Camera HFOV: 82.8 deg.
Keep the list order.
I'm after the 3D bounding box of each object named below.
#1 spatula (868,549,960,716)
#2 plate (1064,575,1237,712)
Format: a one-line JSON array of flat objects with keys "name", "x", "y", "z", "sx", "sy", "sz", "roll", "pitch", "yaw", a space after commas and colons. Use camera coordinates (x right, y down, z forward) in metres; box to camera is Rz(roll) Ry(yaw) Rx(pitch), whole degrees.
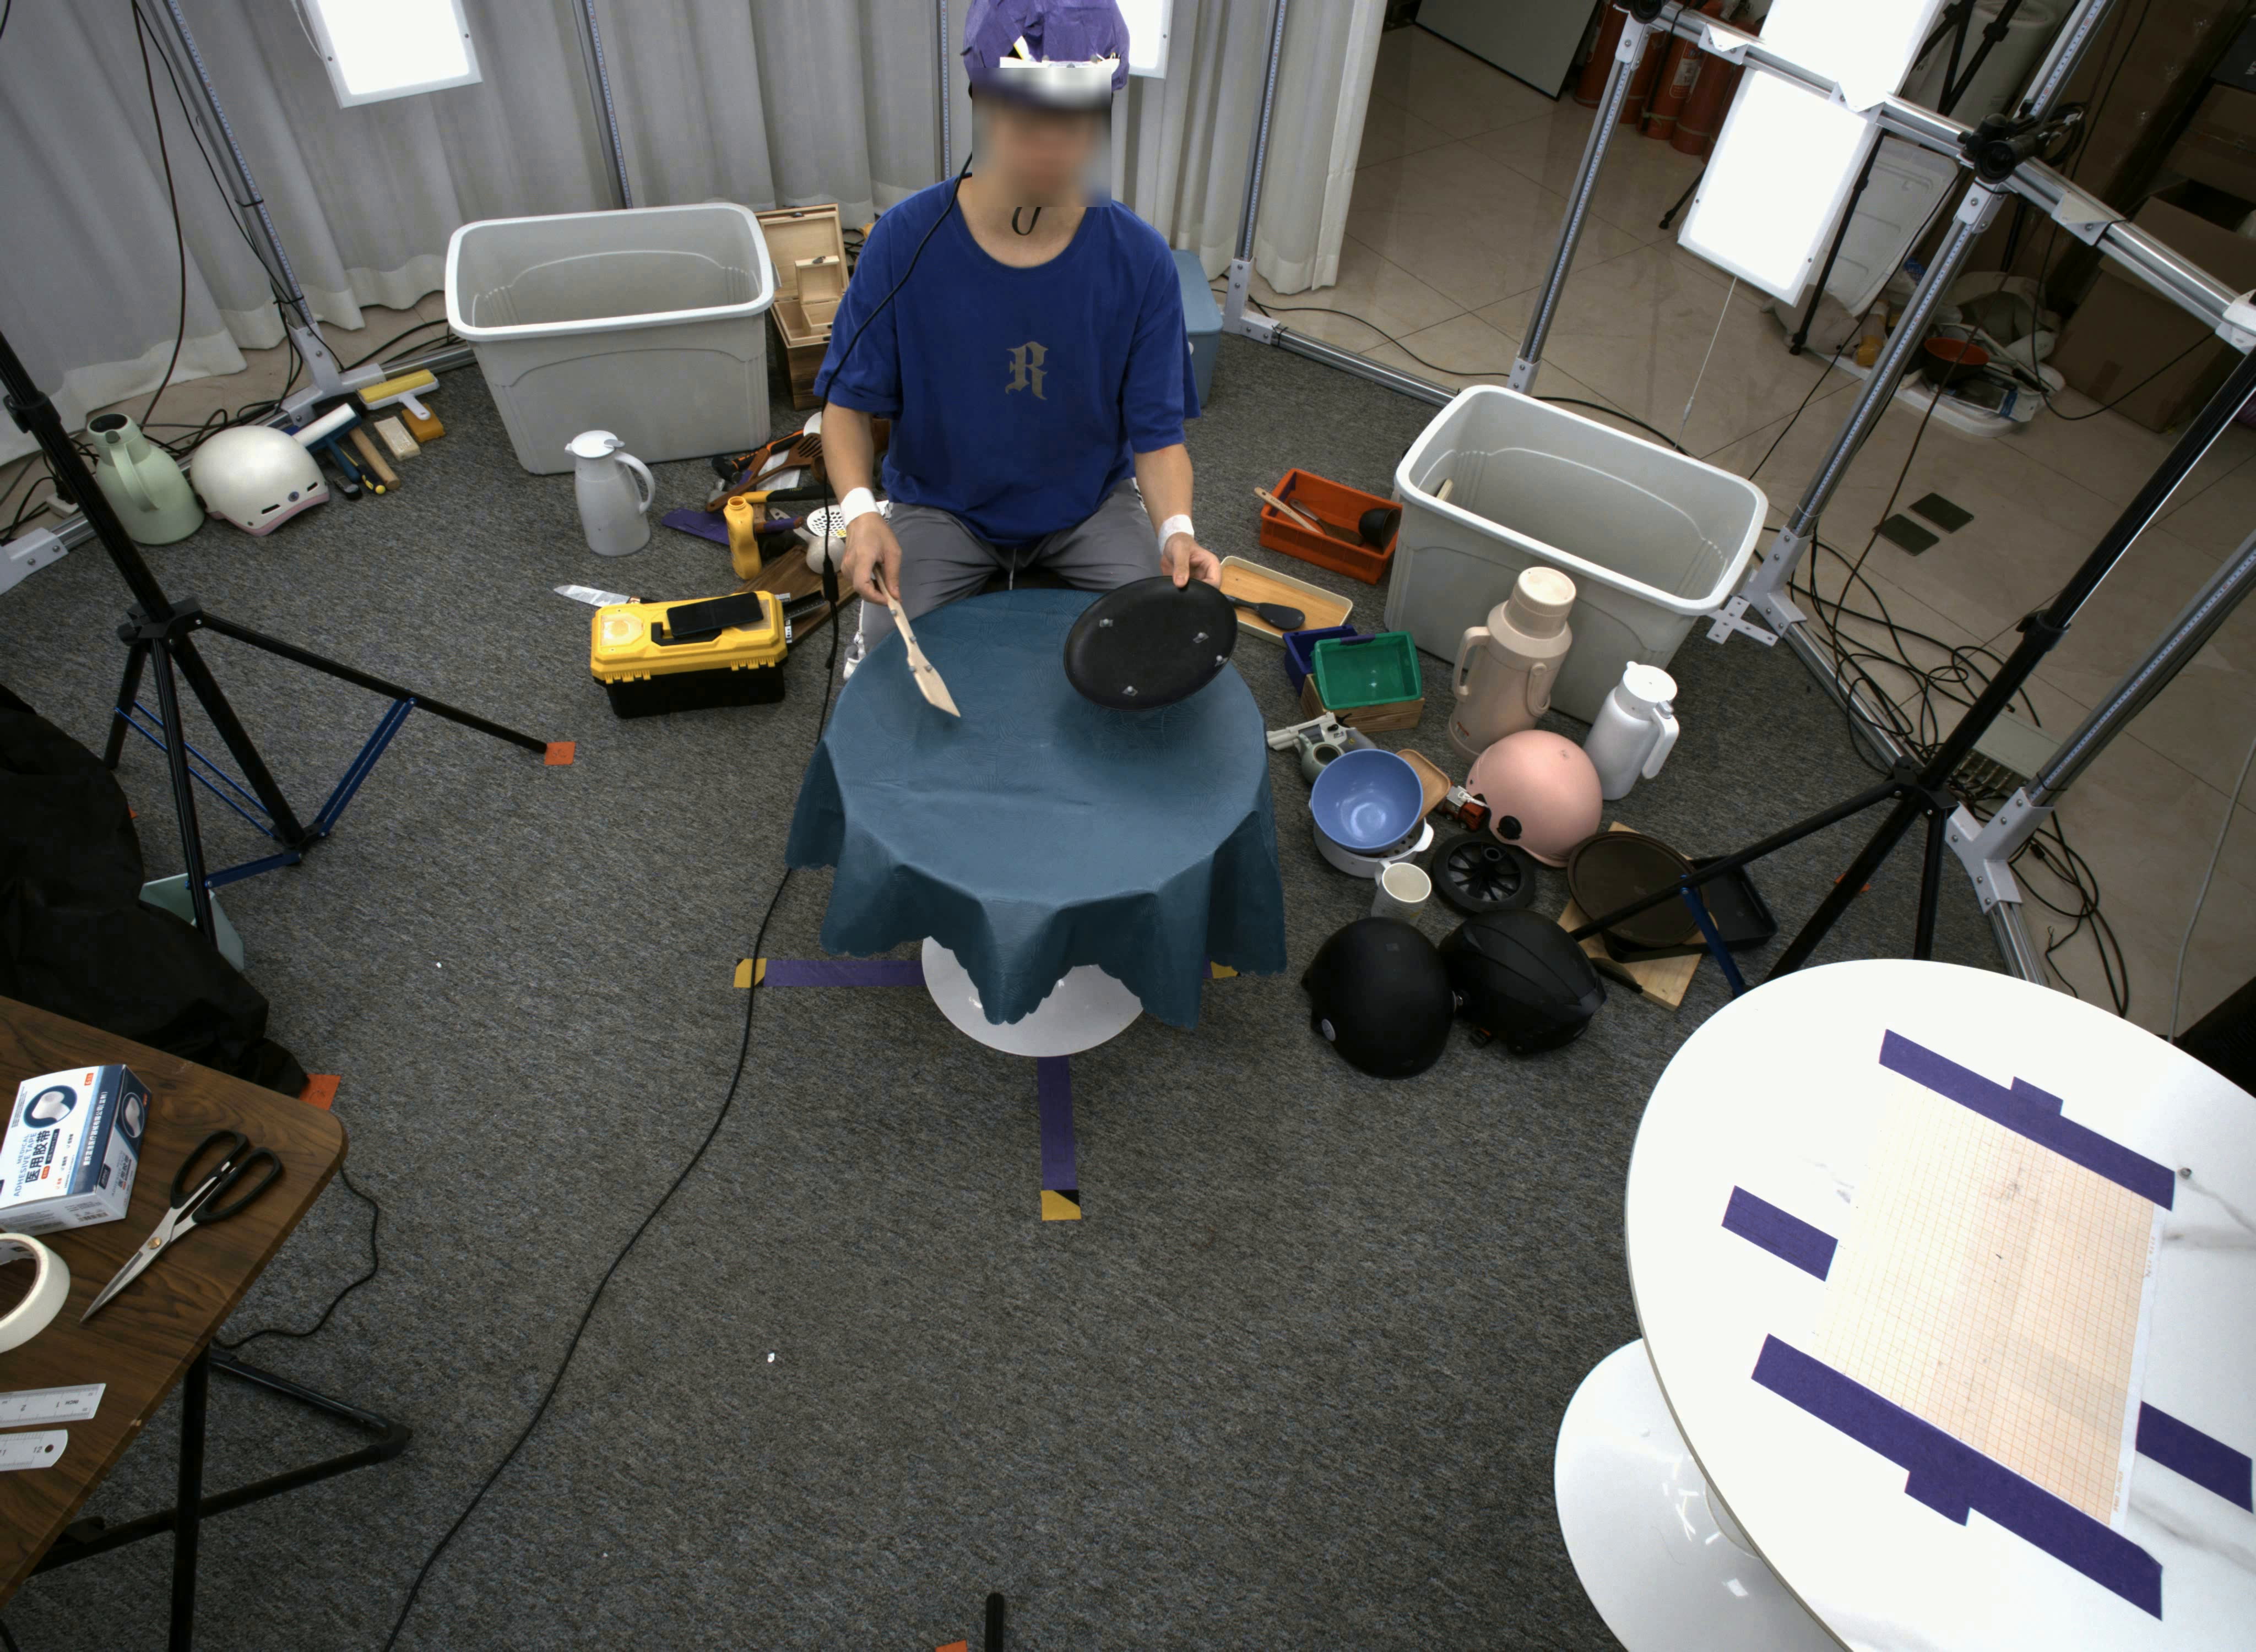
[{"name": "spatula", "x": -0.308, "y": -0.275, "z": 1.797, "sx": 0.010, "sy": 0.071, "sz": 0.298, "roll": -36, "pitch": 63, "yaw": 21}, {"name": "plate", "x": 0.031, "y": -0.247, "z": 1.749, "sx": 0.244, "sy": 0.023, "sz": 0.250, "roll": -9, "pitch": 53, "yaw": 12}]
